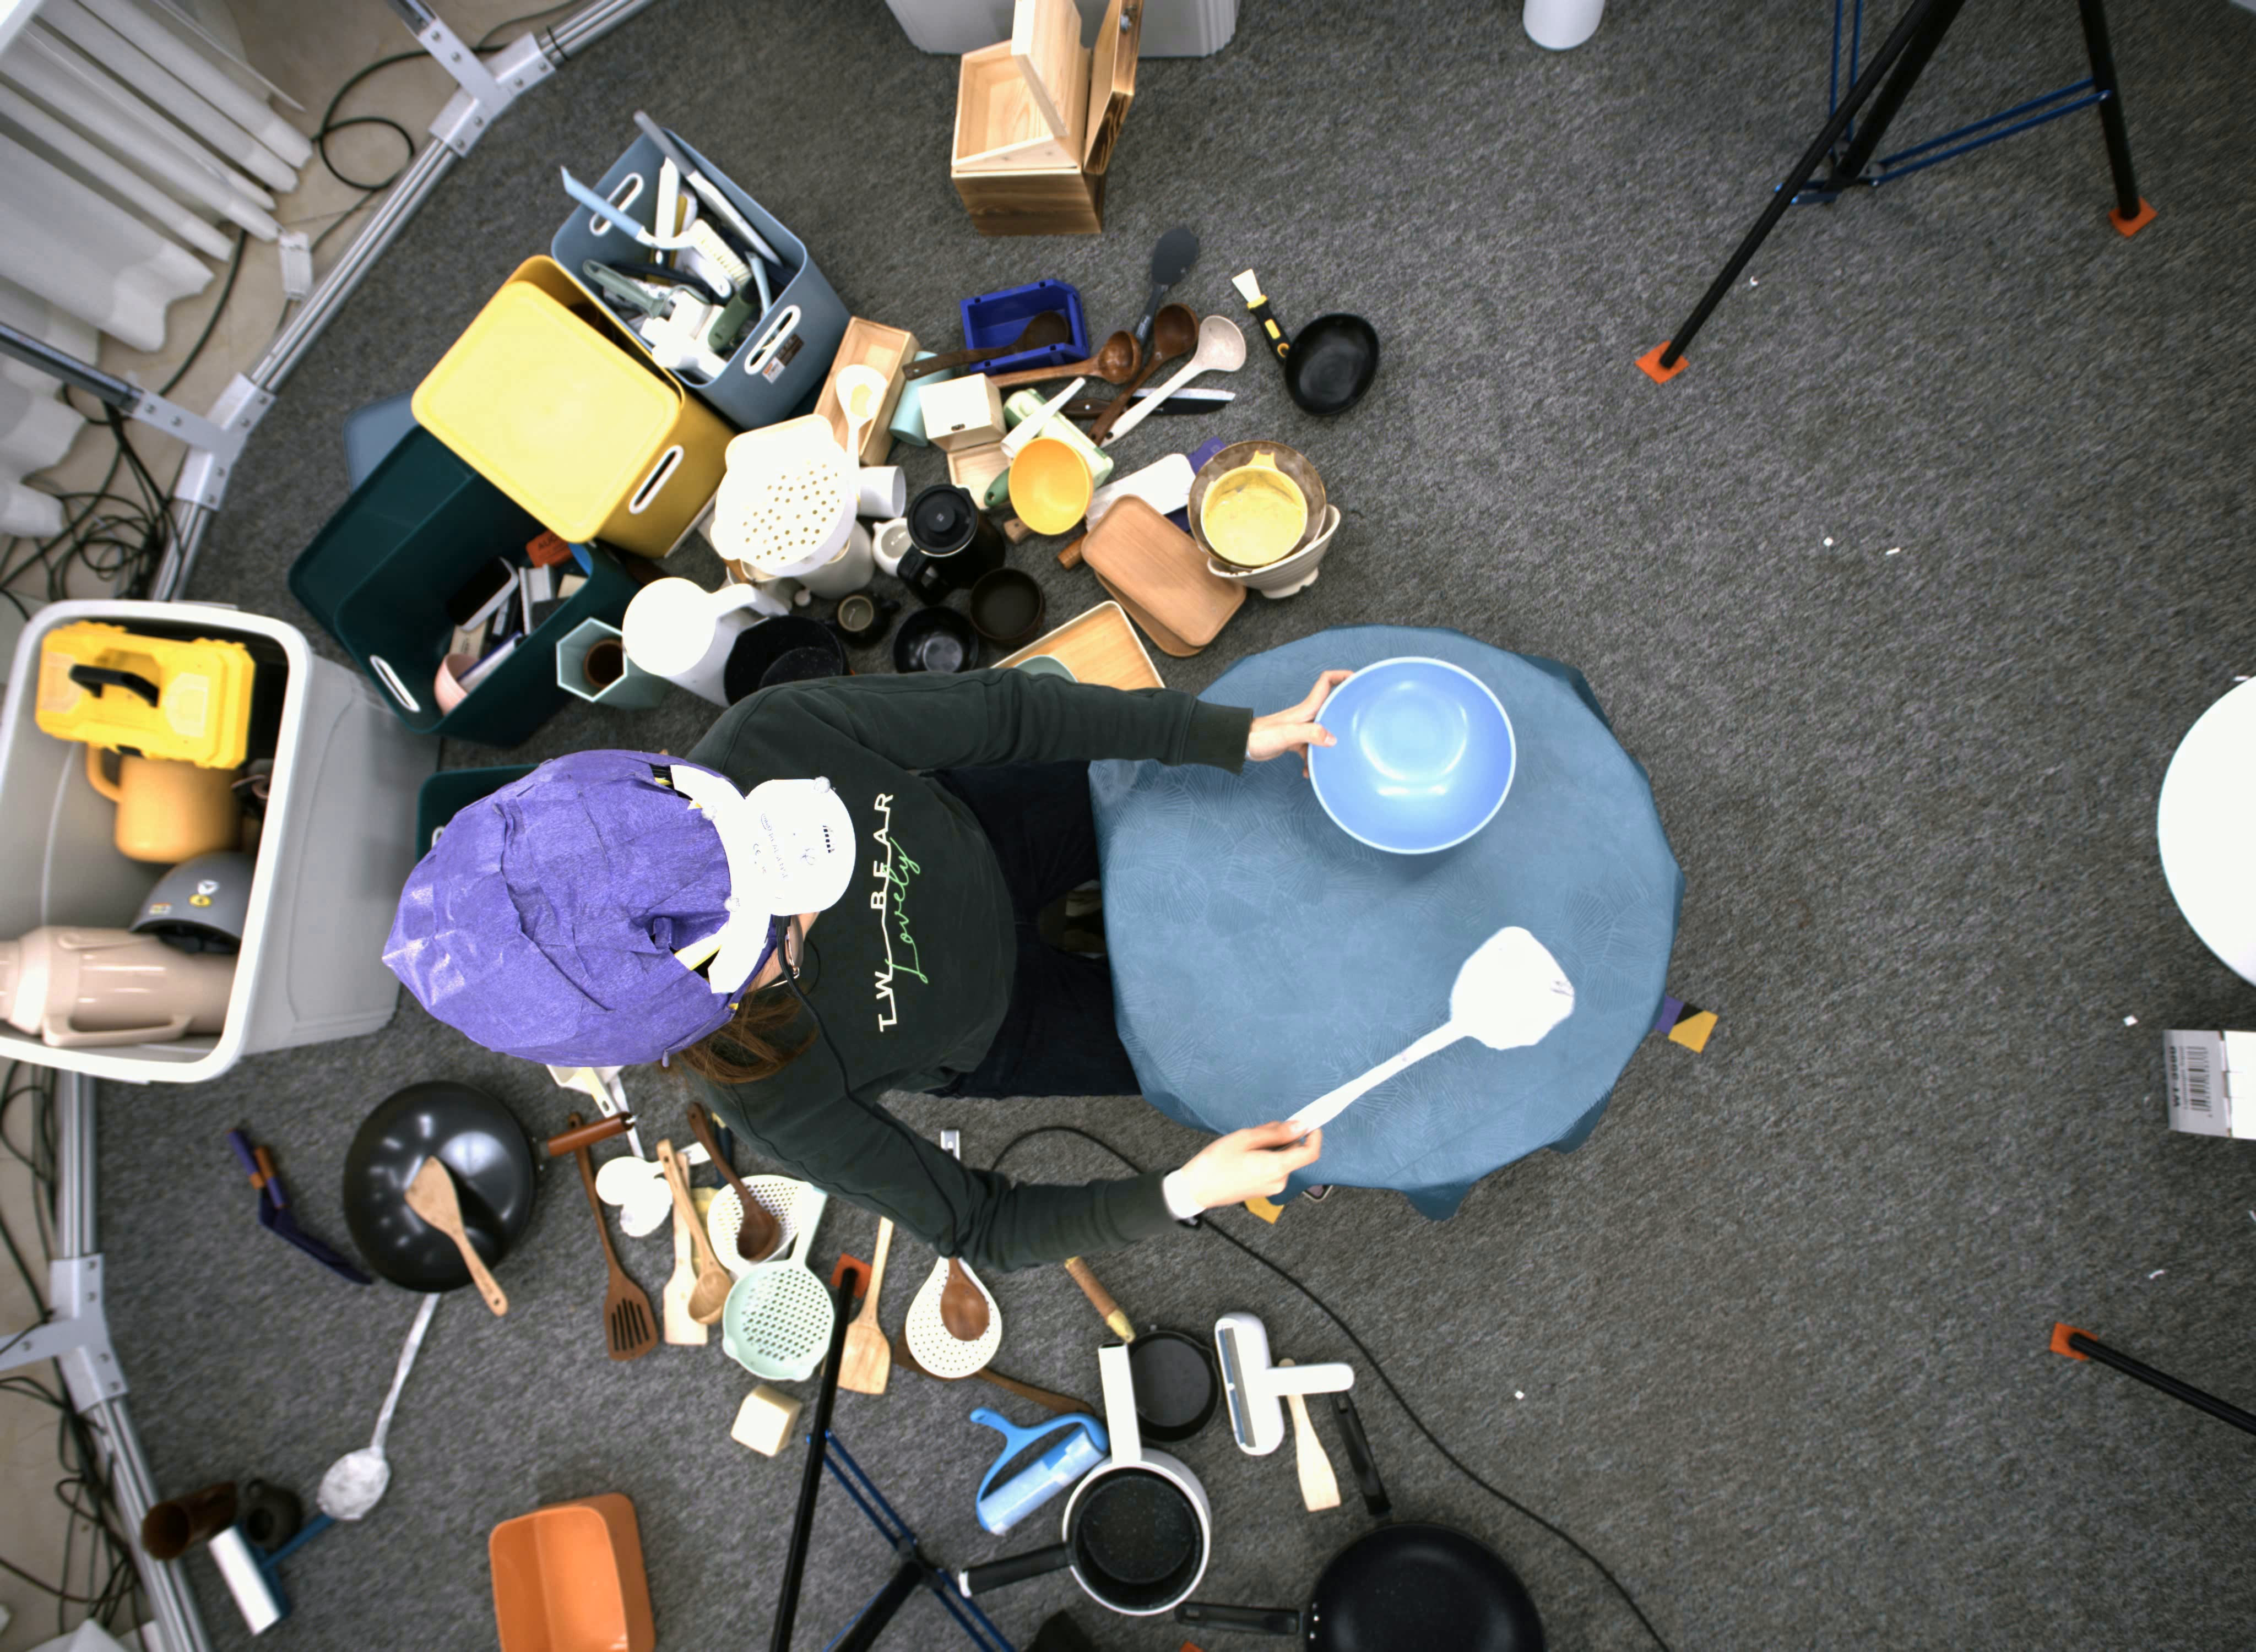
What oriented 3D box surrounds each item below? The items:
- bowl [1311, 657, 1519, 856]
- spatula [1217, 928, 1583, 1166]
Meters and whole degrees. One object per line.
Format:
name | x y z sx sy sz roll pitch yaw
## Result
bowl | 0.282 -0.079 1.357 0.197 0.093 0.199 3 109 10
spatula | 0.242 0.218 1.267 0.365 0.045 0.097 -30 66 0
